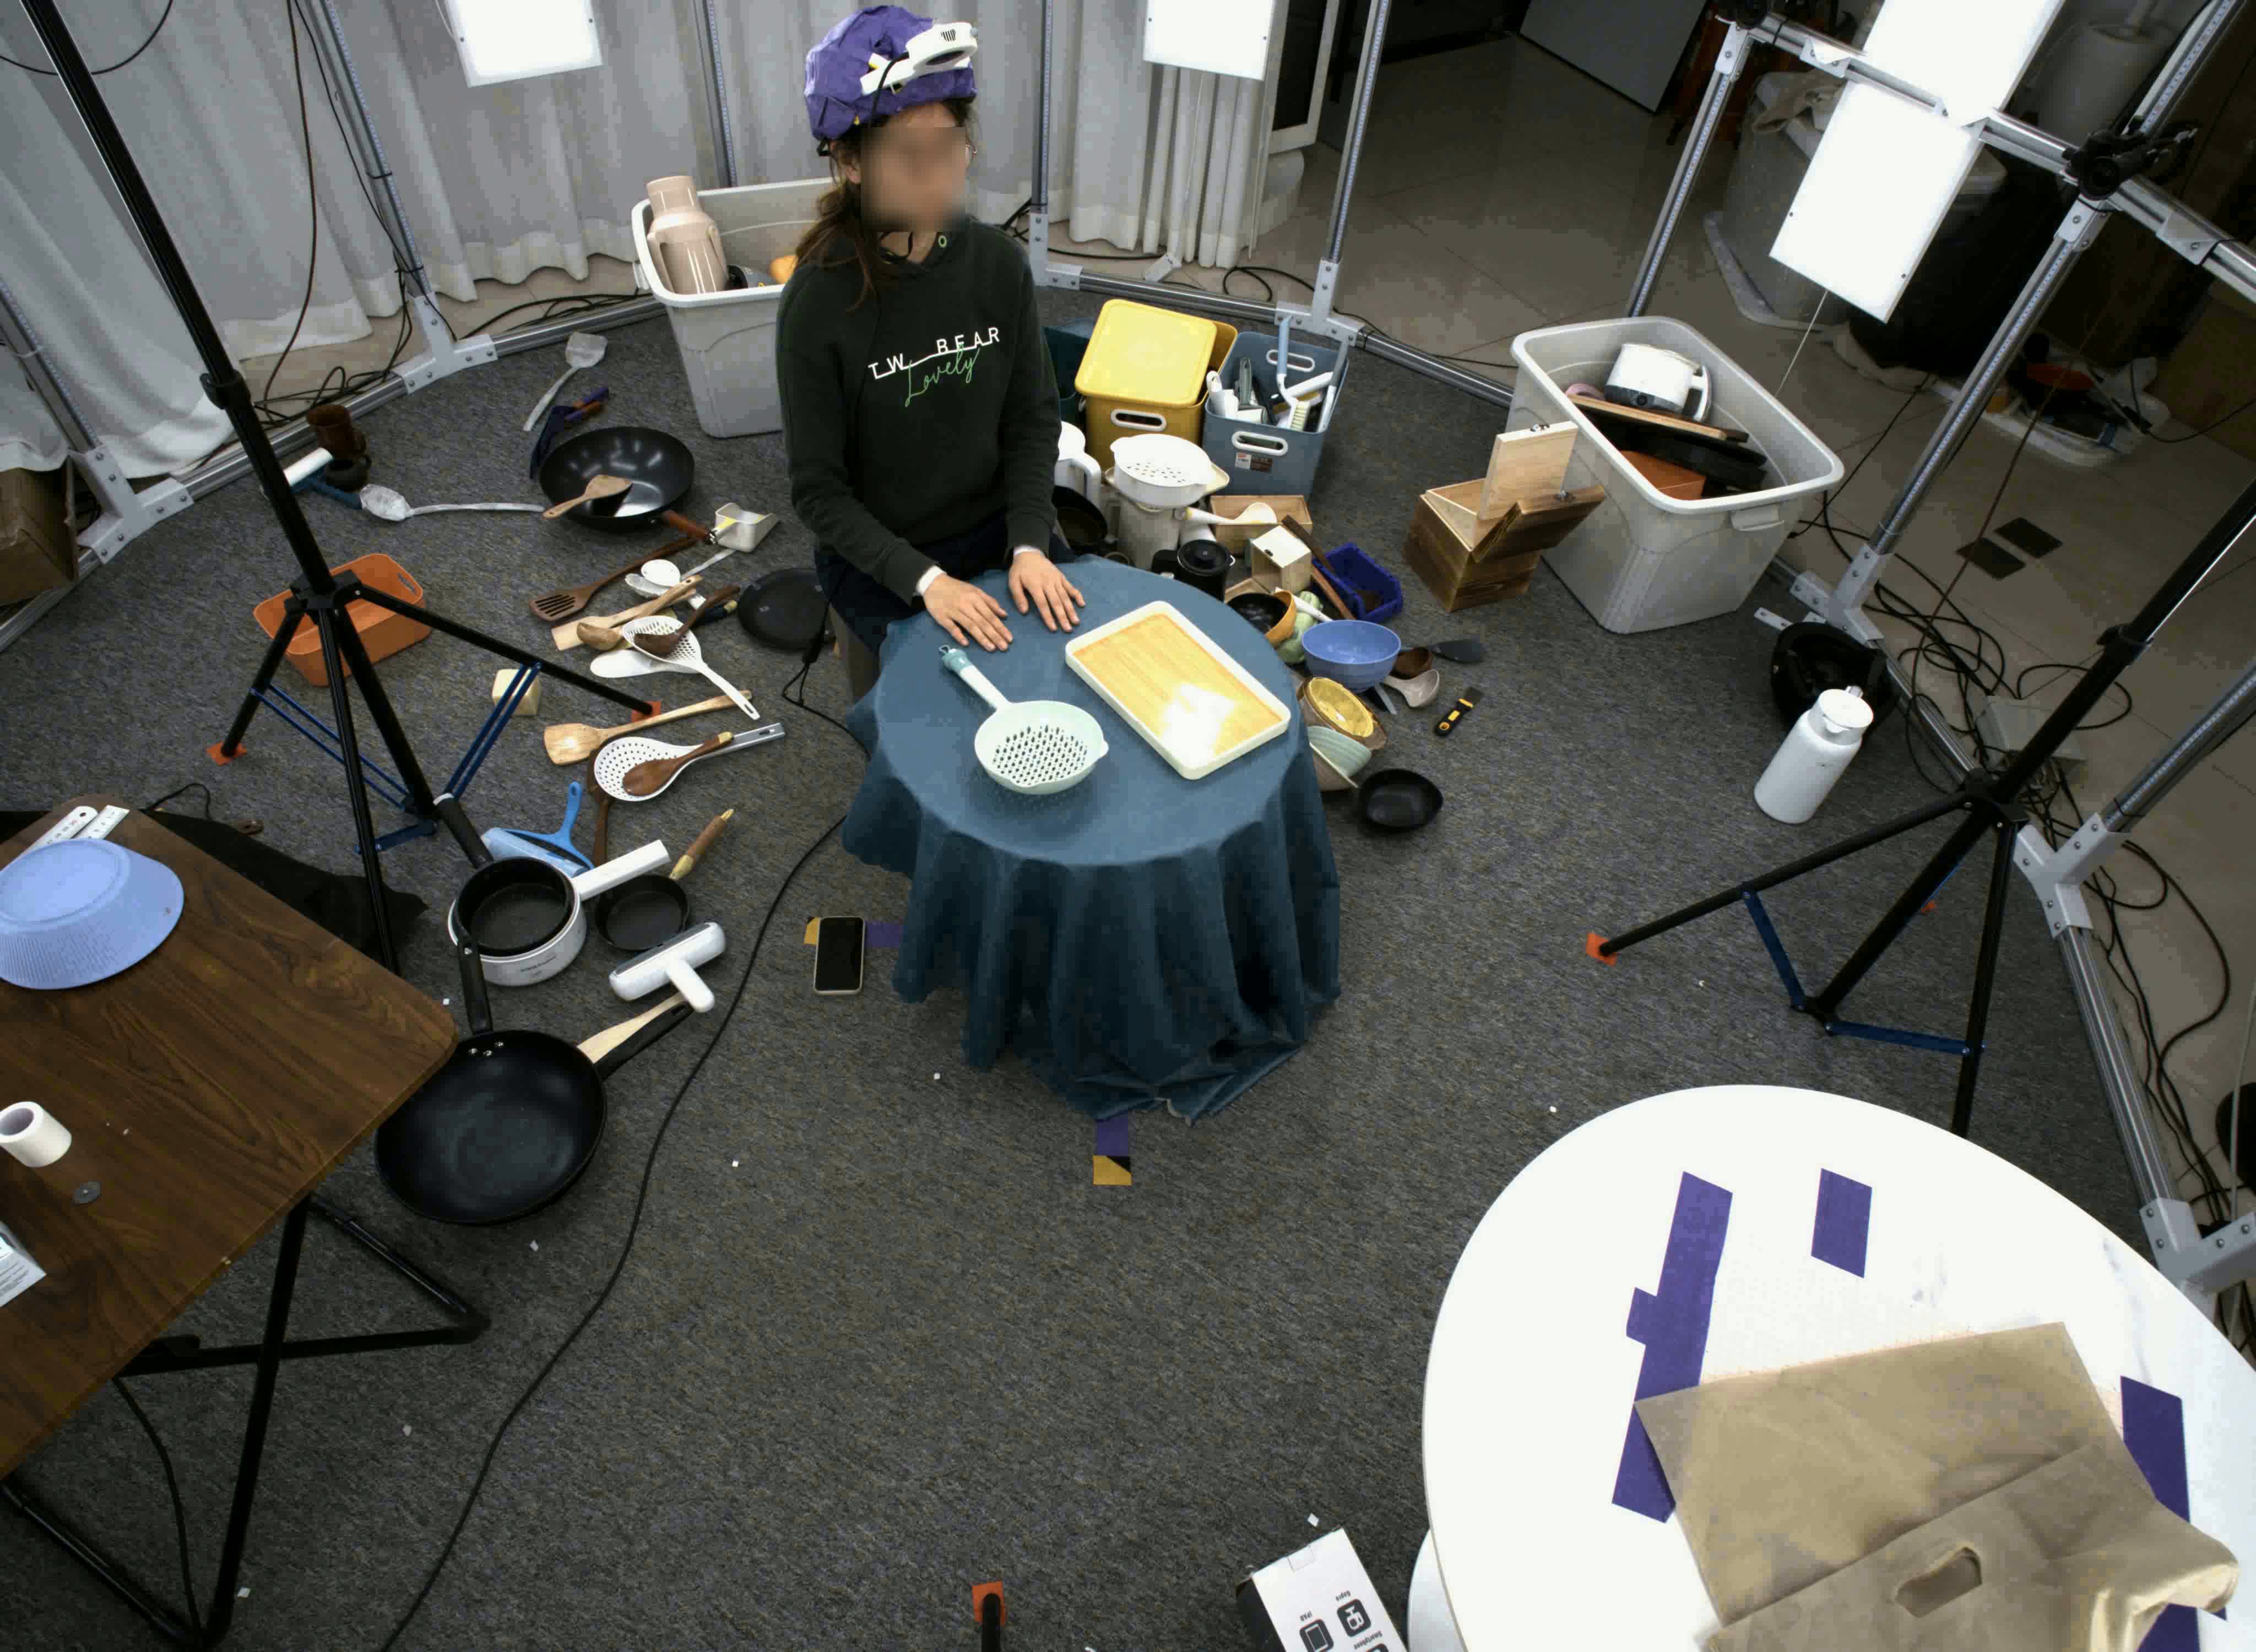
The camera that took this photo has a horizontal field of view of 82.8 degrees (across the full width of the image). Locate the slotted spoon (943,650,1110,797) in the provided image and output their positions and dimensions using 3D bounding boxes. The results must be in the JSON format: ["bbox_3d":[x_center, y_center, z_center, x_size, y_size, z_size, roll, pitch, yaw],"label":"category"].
[{"bbox_3d":[-0.169,-0.158,1.769,0.170,0.073,0.366,-23,54,-23],"label":"slotted spoon"}]

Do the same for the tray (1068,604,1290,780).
[{"bbox_3d":[0.070,-0.199,1.845,0.192,0.027,0.306,-28,56,-25],"label":"tray"}]
